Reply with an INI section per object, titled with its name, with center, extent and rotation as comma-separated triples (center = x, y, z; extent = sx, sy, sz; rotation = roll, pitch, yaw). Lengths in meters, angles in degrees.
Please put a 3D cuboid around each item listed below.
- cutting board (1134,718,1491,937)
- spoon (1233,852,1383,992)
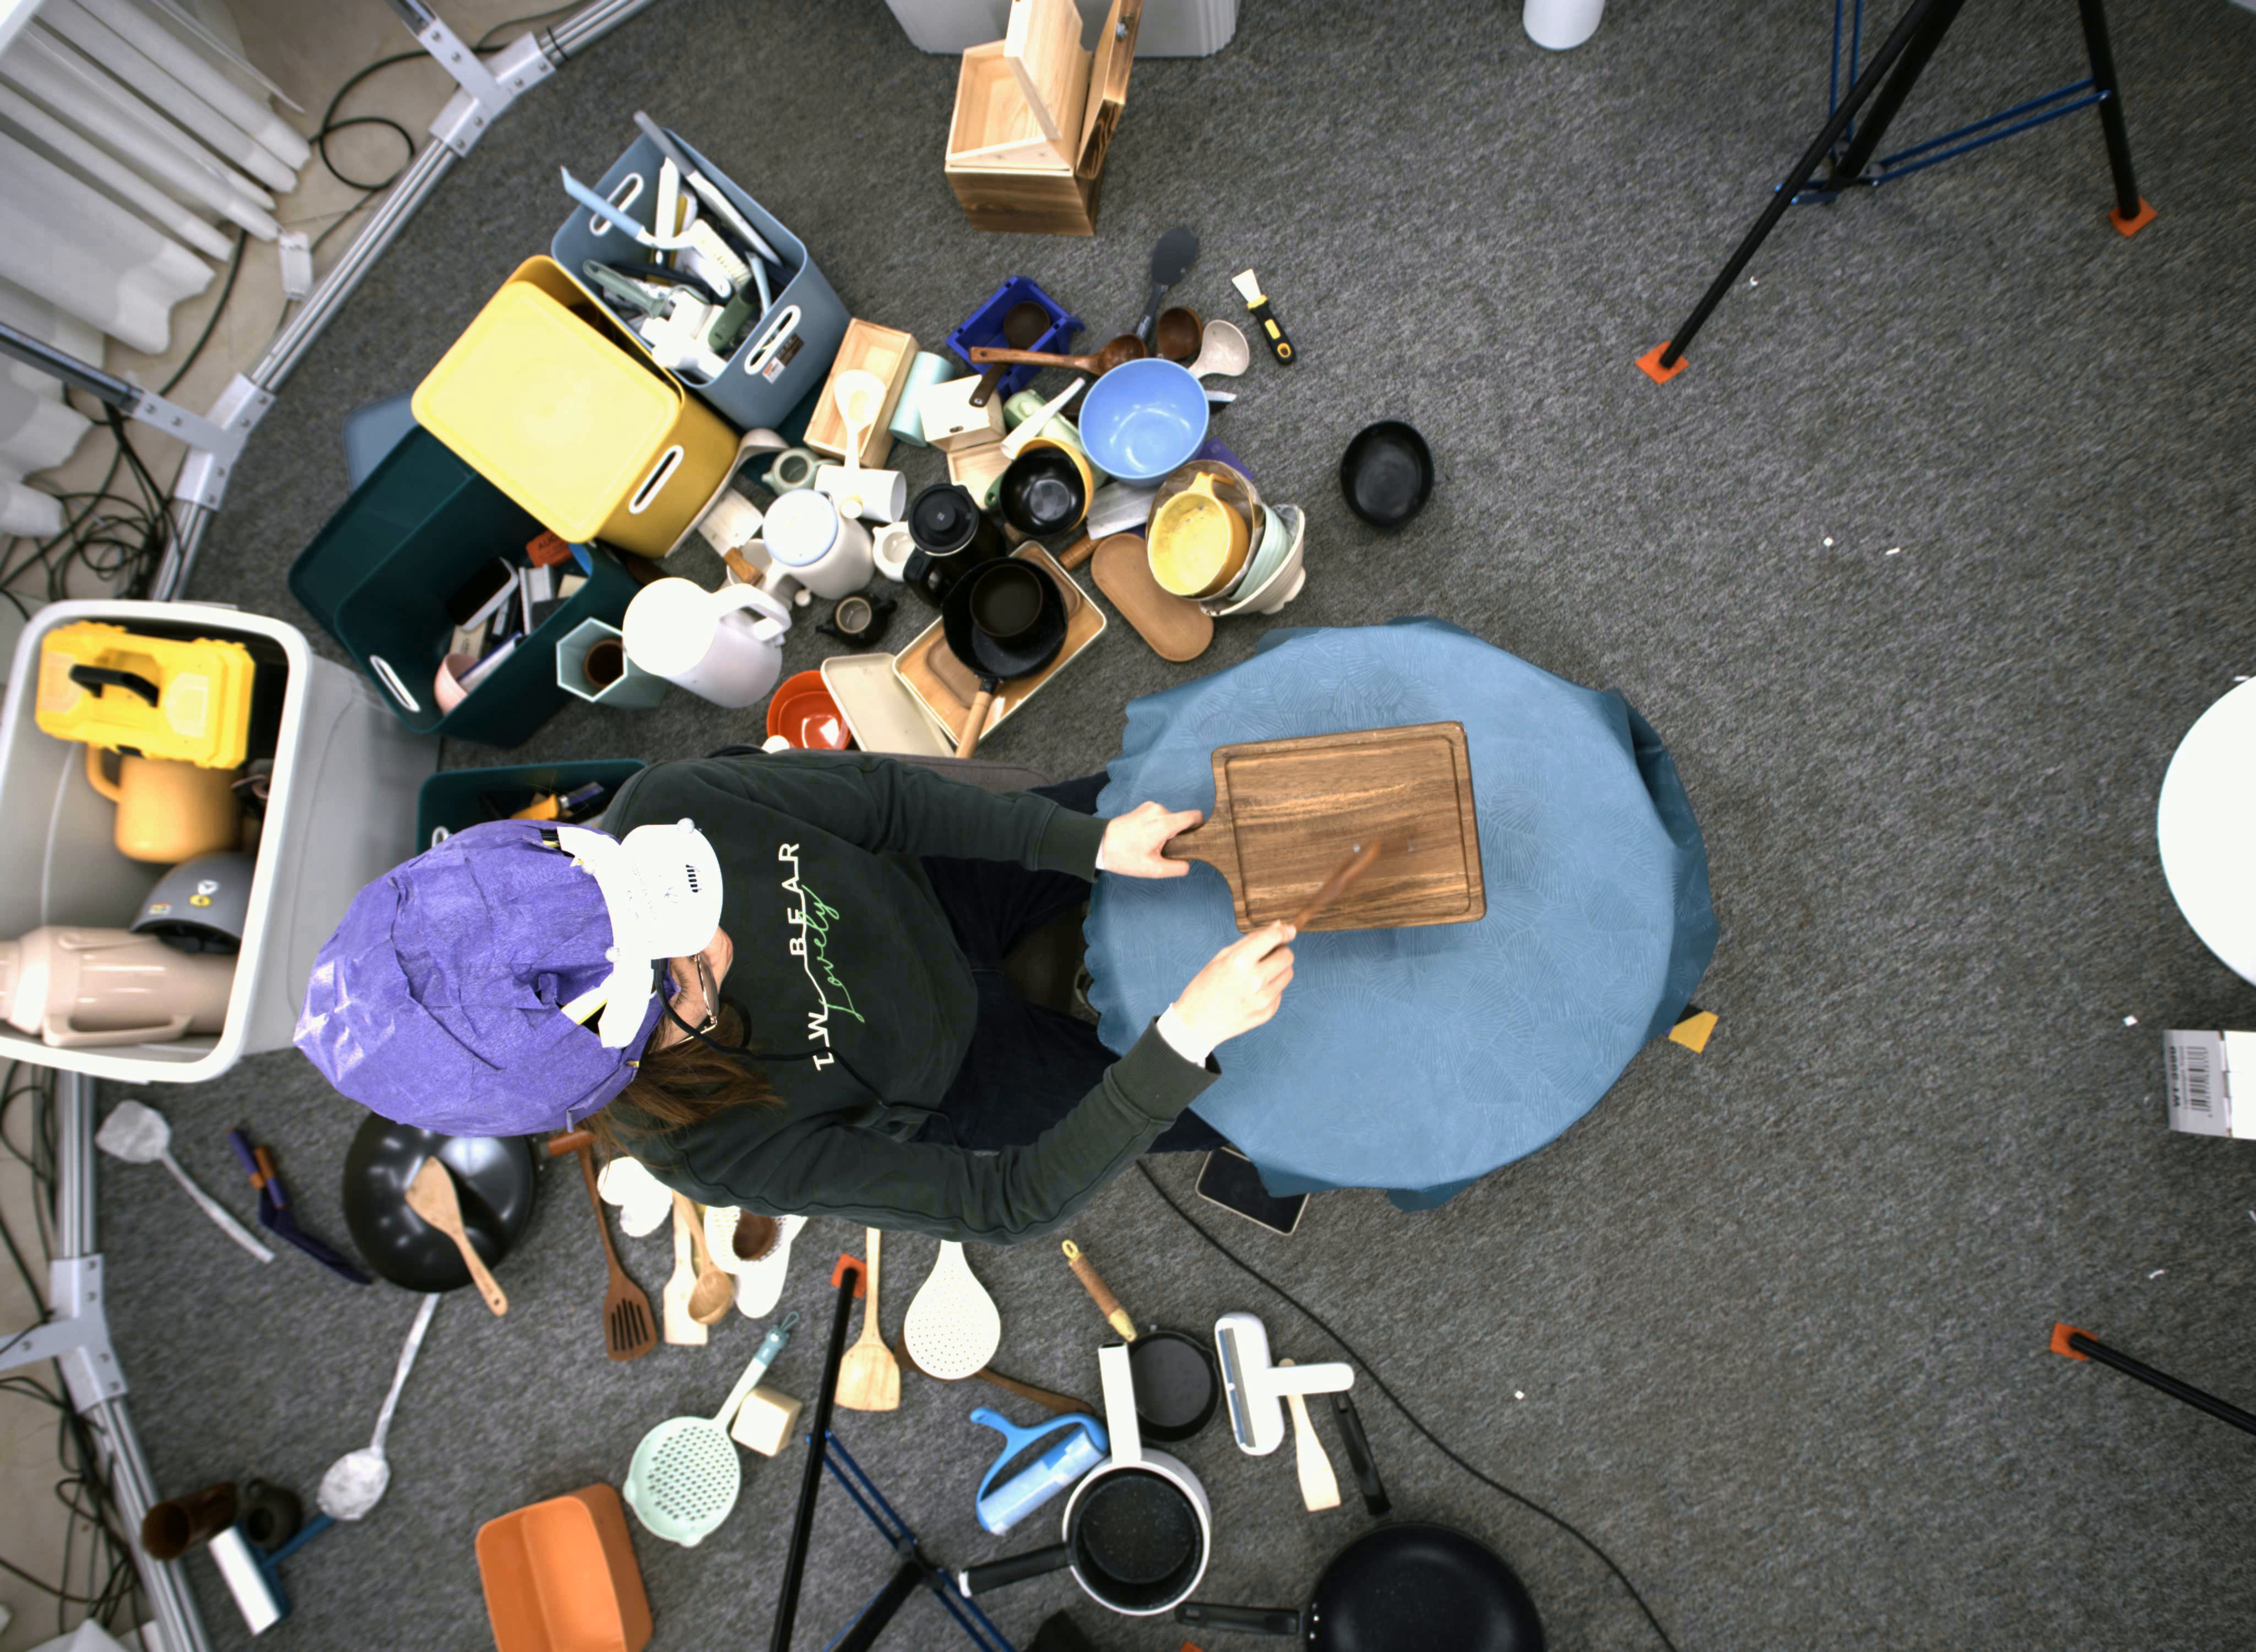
[cutting board]
center = 0.172, 0.009, 1.375
extent = 0.355, 0.023, 0.203
rotation = -5, 105, 22
[spoon]
center = 0.162, 0.084, 1.238
extent = 0.211, 0.077, 0.017
rotation = -36, 91, -36
